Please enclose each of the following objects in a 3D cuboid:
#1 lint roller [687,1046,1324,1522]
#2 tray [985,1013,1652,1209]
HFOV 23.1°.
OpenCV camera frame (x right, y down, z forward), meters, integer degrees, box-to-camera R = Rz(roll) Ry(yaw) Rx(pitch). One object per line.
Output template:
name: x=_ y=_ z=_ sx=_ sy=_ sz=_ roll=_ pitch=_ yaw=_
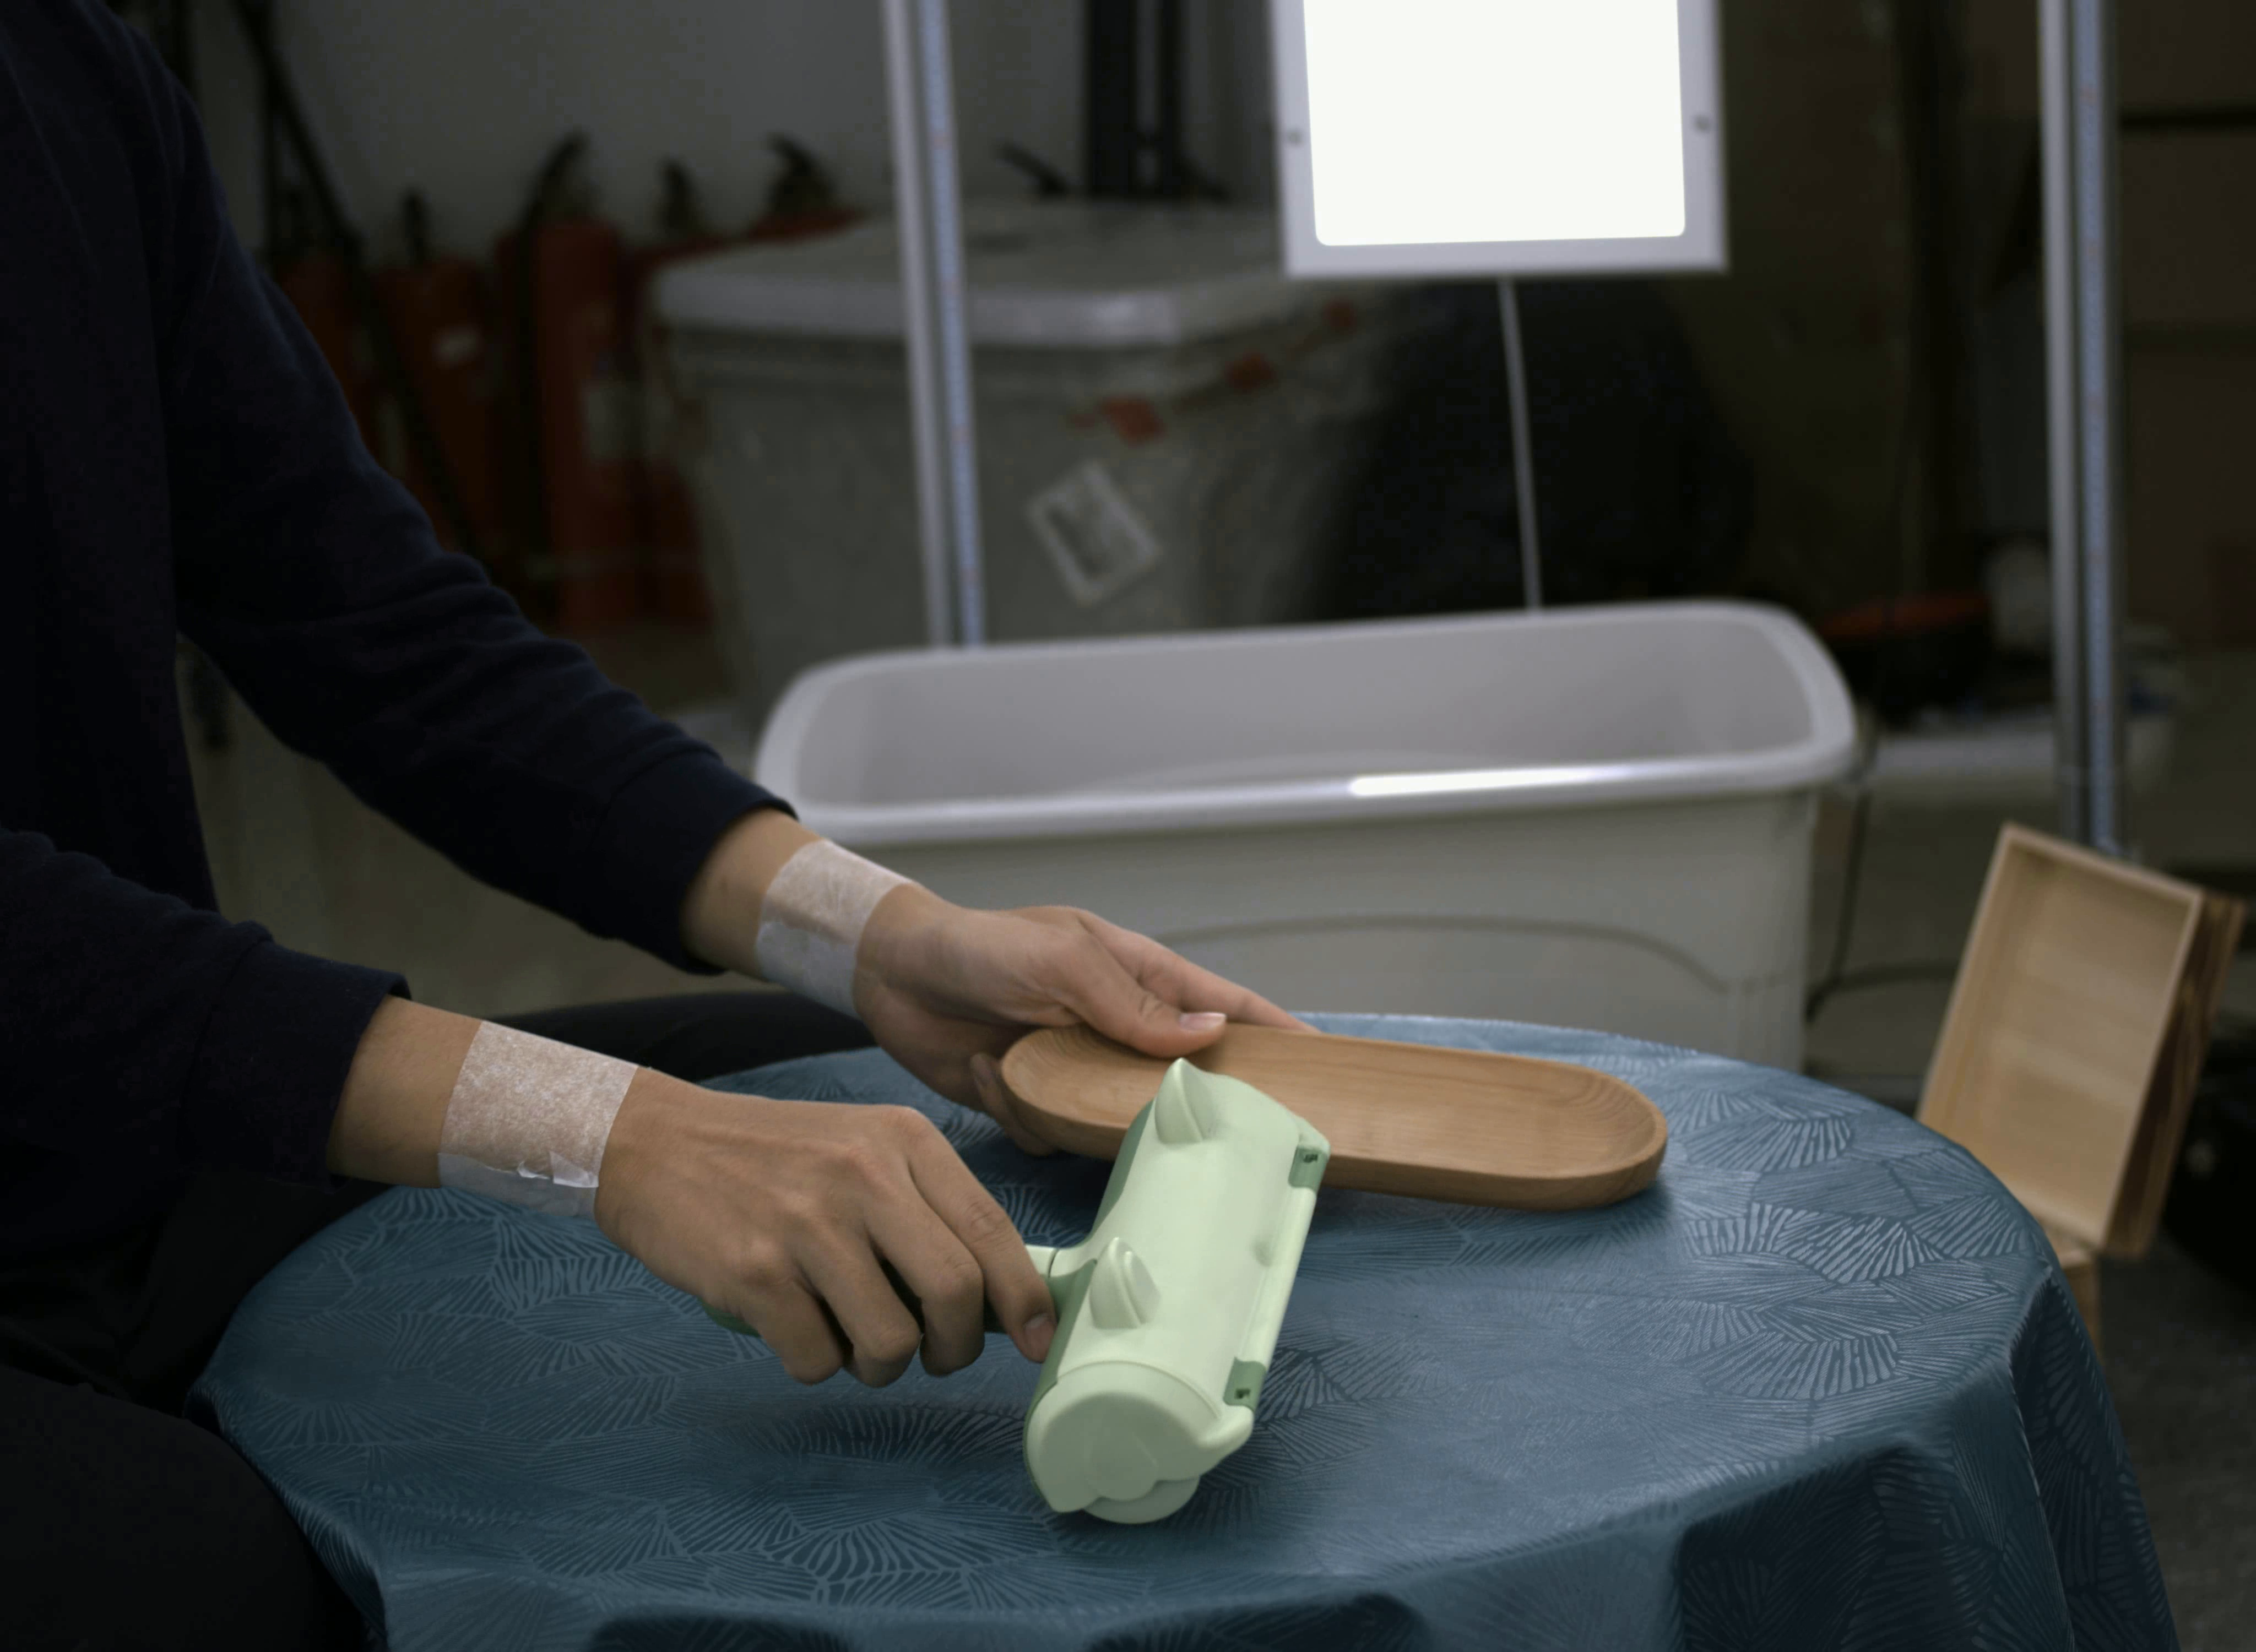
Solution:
lint roller: x=-0.041 y=0.121 z=1.662 sx=0.183 sy=0.083 sz=0.196 roll=11 pitch=27 yaw=5
tray: x=0.065 y=0.097 z=1.886 sx=0.232 sy=0.020 sz=0.100 roll=5 pitch=20 yaw=12
